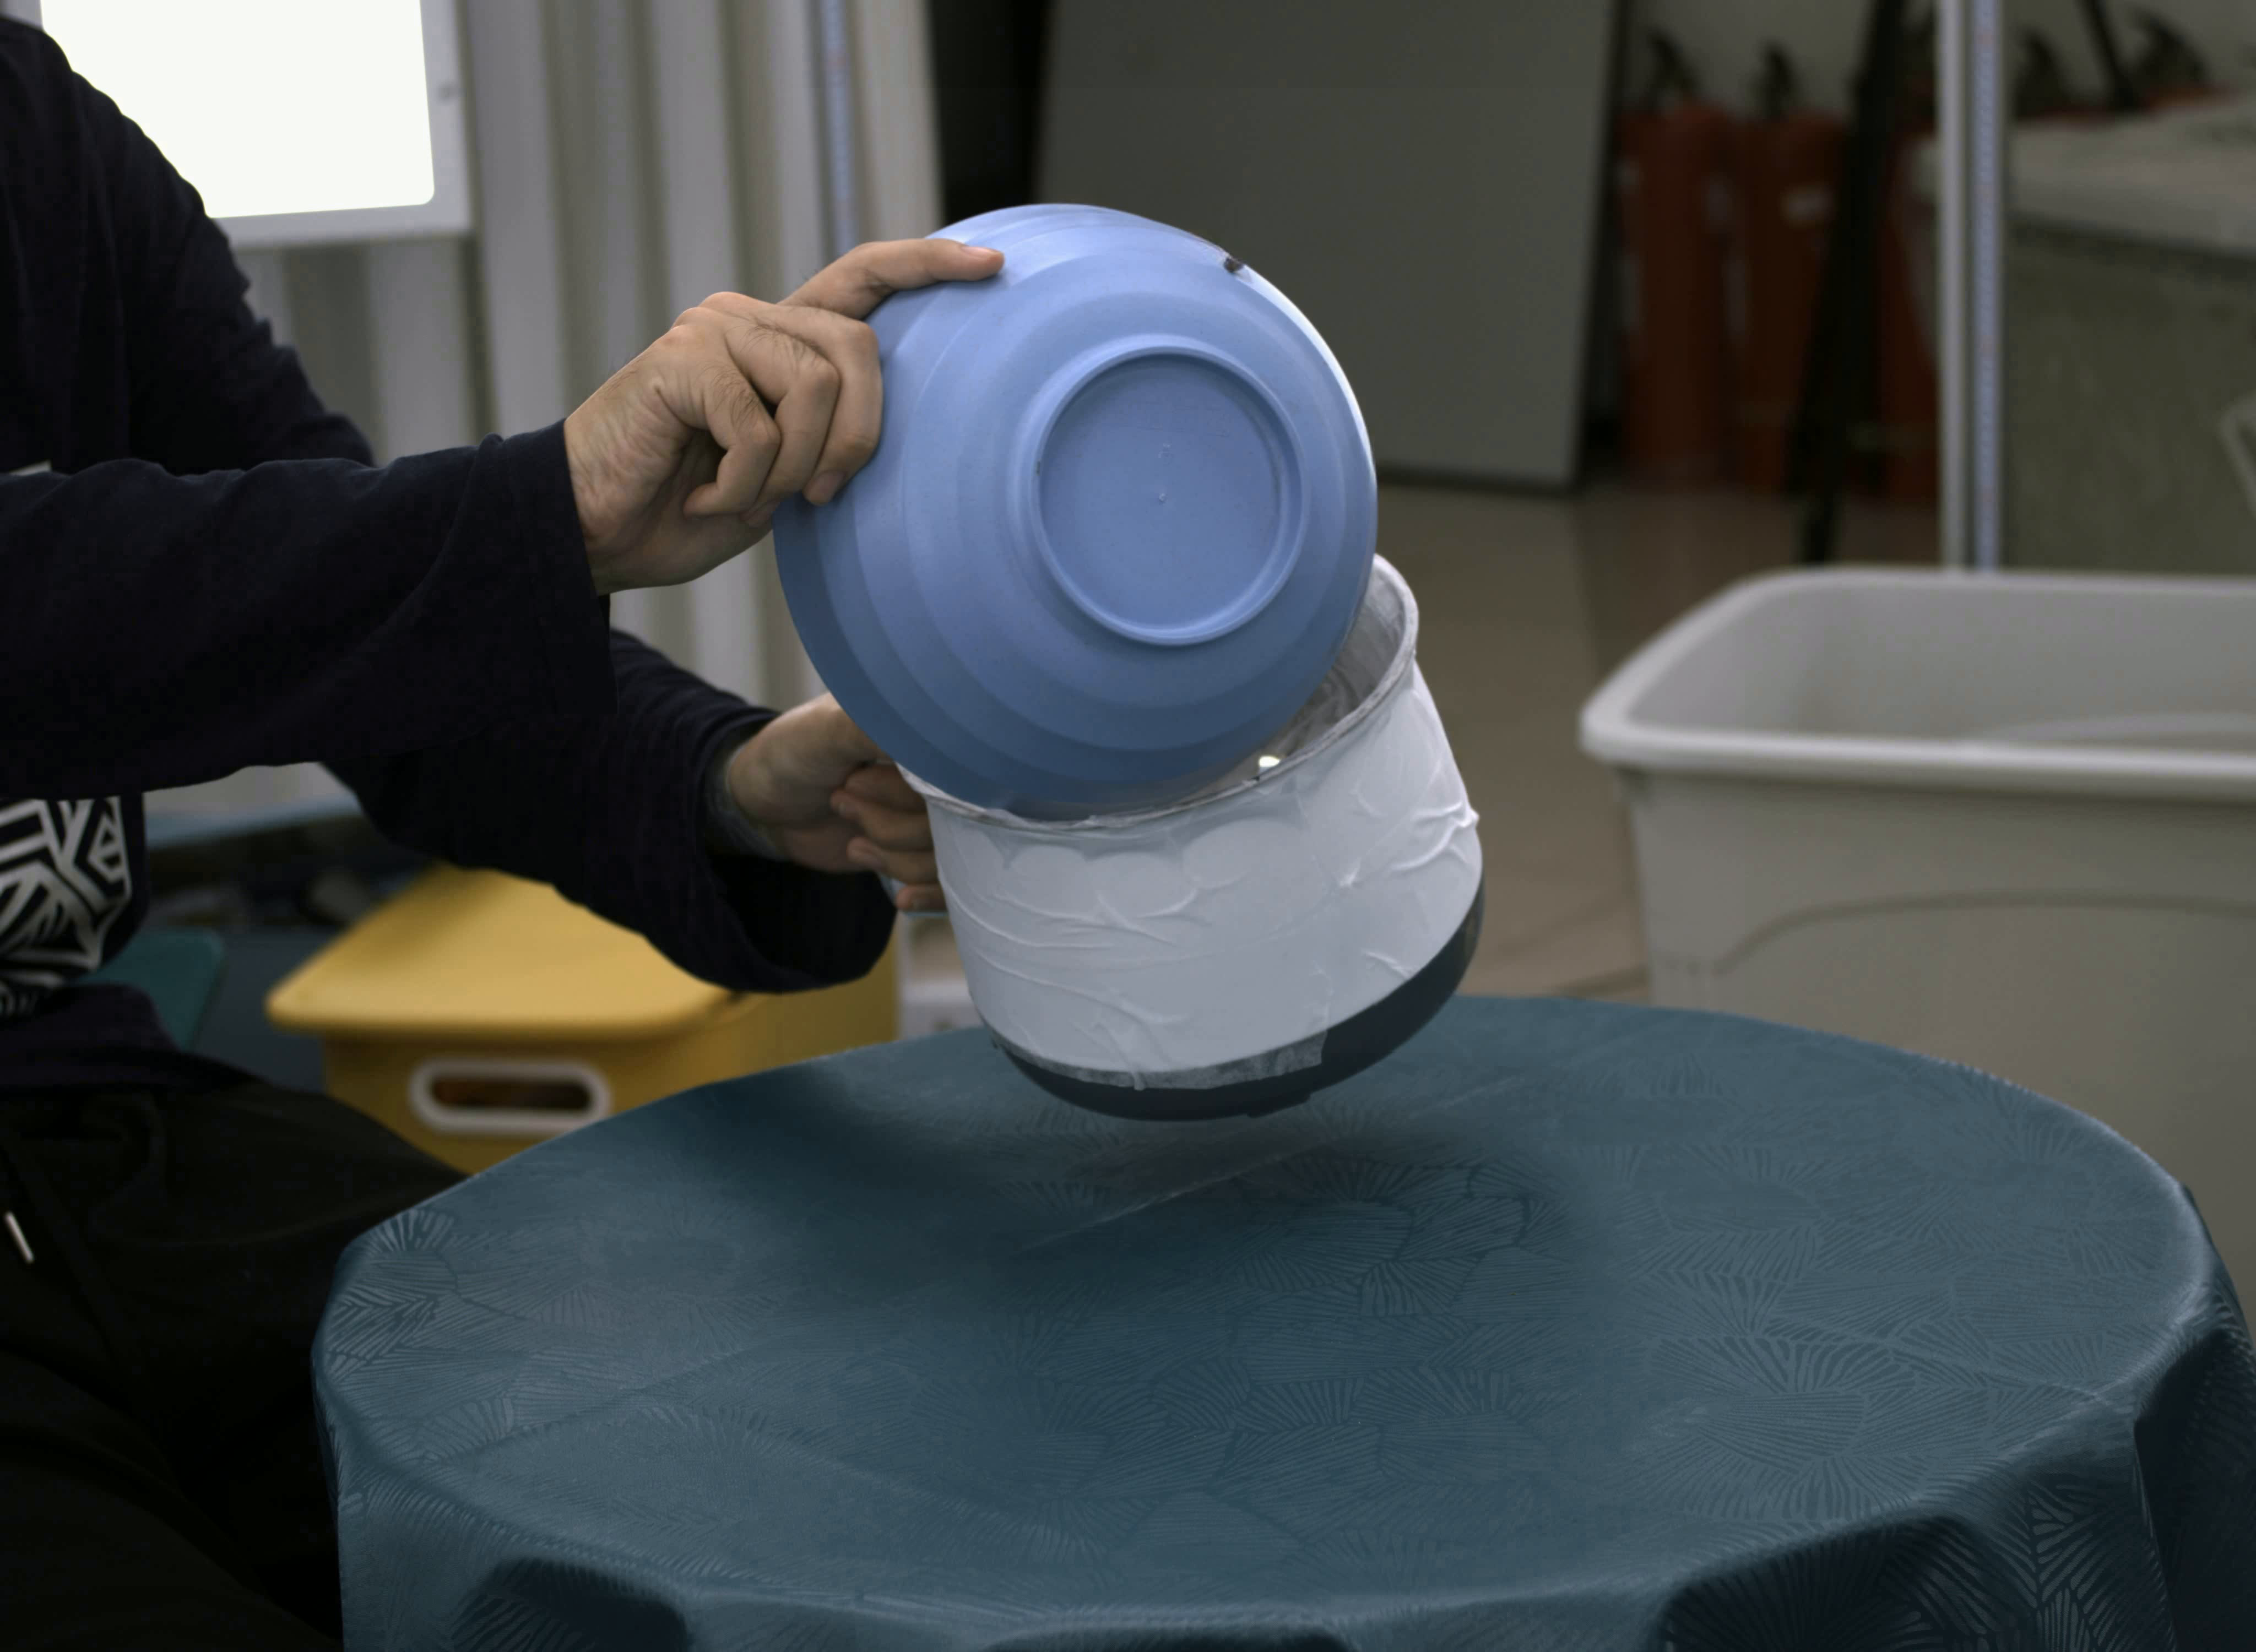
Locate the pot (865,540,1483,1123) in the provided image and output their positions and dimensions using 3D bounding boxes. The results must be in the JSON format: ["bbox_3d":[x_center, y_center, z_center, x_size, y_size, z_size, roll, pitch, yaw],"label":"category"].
[{"bbox_3d":[0.002,-0.001,1.782,0.235,0.137,0.176,9,36,37],"label":"pot"}]

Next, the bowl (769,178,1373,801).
[{"bbox_3d":[-0.005,-0.103,1.658,0.192,0.199,0.096,-7,3,-16],"label":"bowl"}]
